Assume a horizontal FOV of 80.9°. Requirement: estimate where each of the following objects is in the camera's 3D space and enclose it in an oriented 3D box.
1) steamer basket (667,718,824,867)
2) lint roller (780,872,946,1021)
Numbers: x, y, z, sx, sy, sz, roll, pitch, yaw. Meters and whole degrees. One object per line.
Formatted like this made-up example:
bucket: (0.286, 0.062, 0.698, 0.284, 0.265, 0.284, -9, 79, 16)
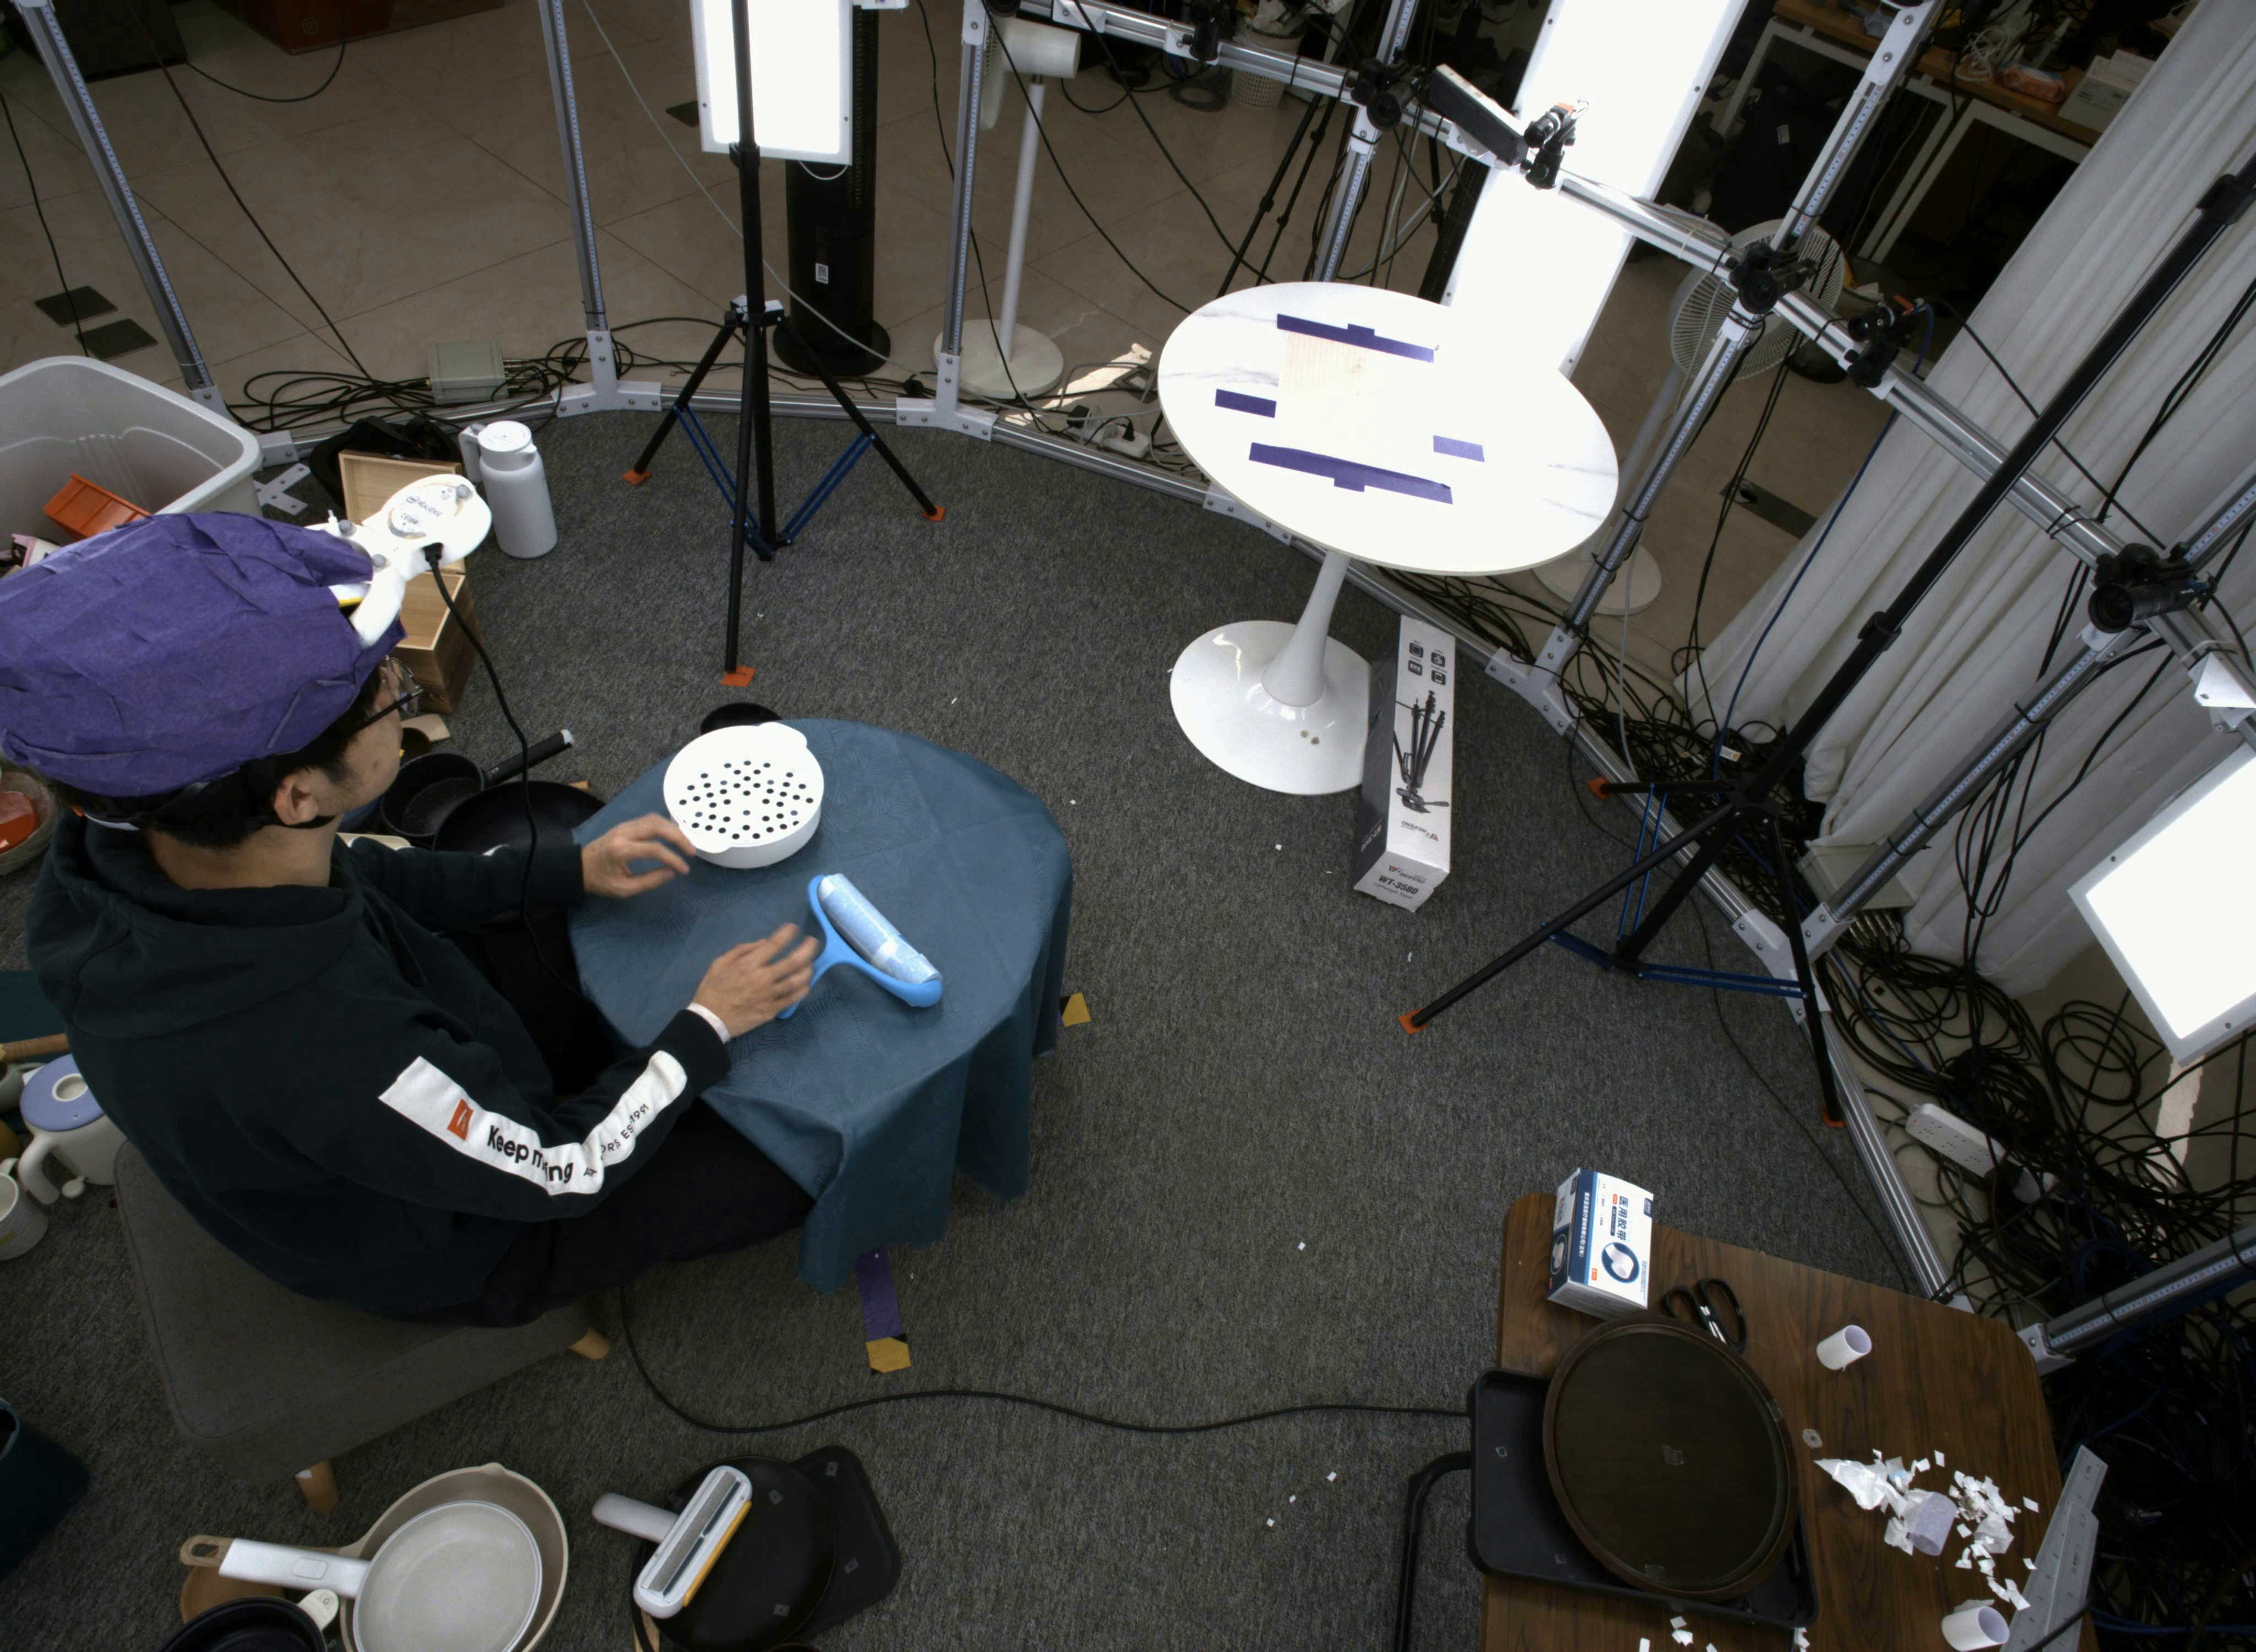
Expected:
steamer basket: (-0.499, -0.041, 1.696, 0.199, 0.070, 0.229, 23, 53, 4)
lint roller: (-0.351, 0.167, 1.591, 0.225, 0.069, 0.180, 40, 53, 13)
